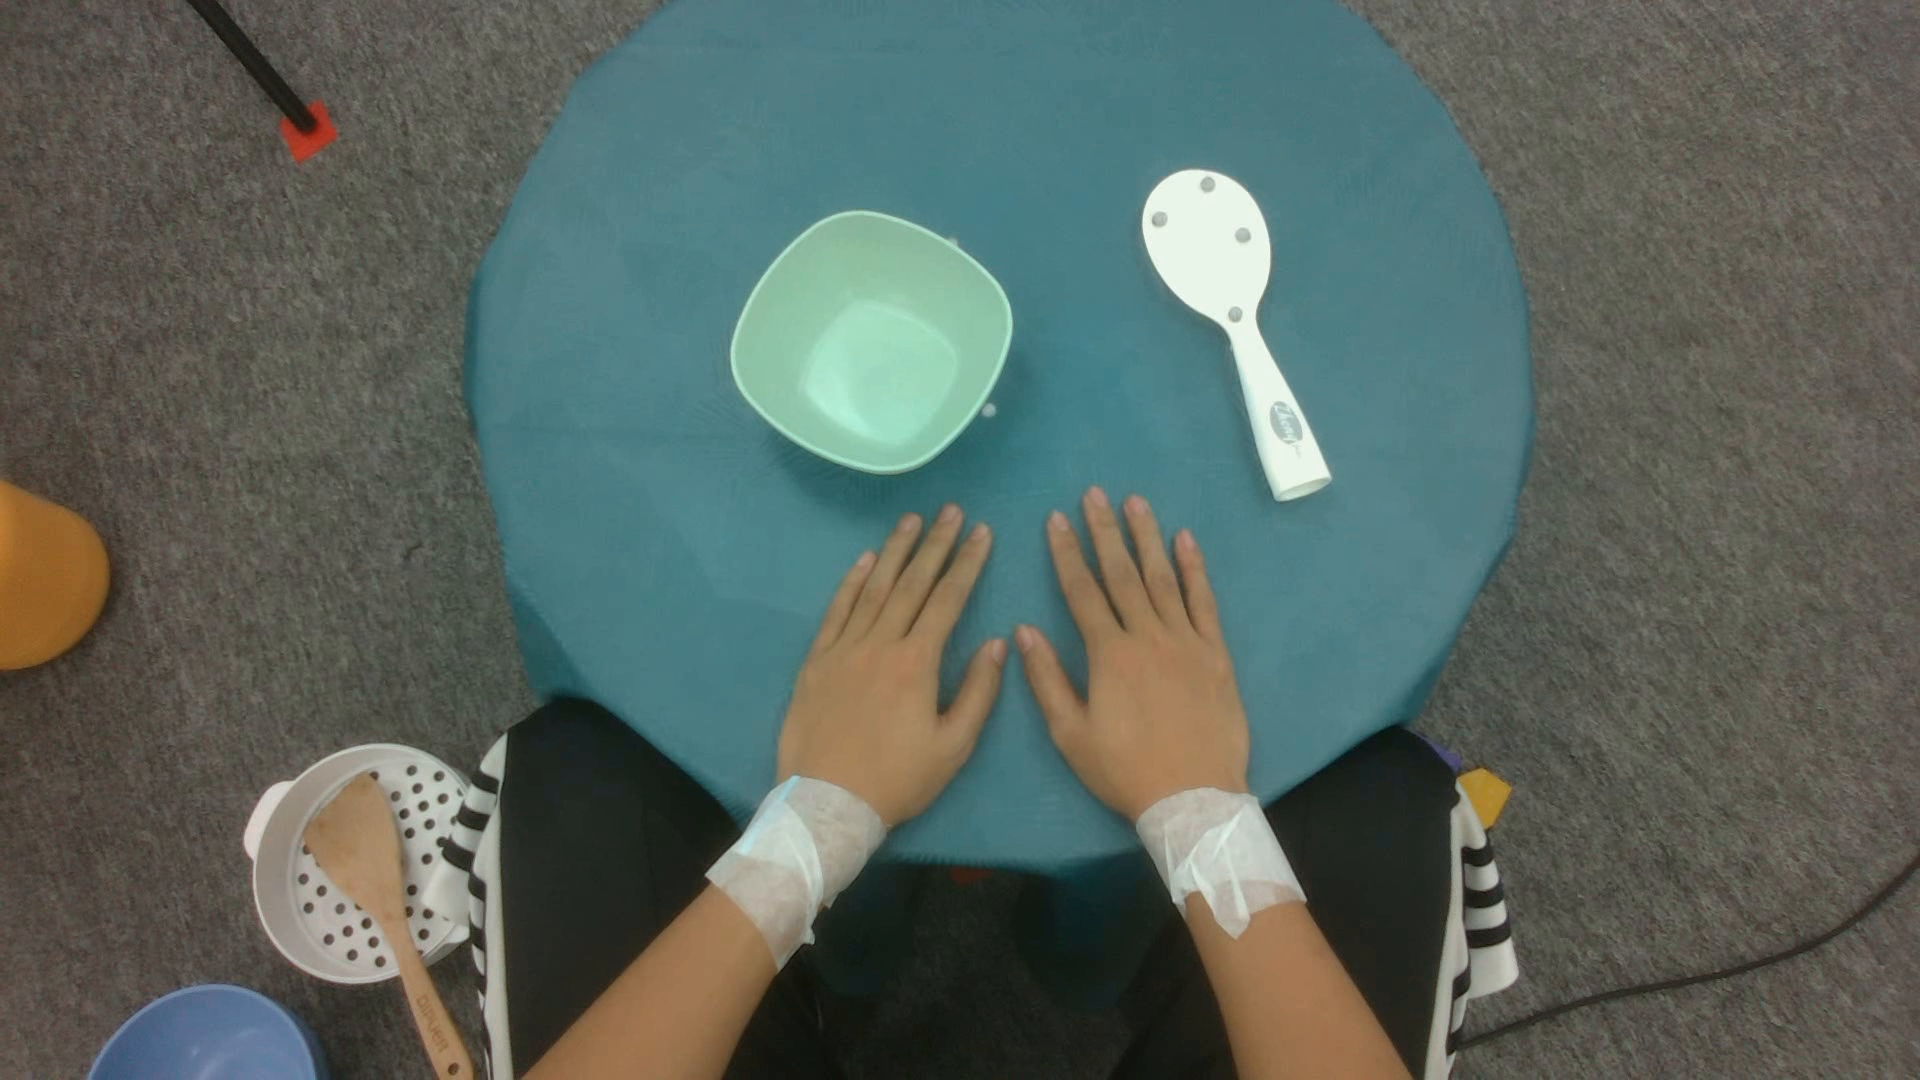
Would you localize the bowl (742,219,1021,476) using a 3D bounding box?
[{"bbox_3d":[-0.042,-0.098,0.764,0.151,0.058,0.152,1,72,-2],"label":"bowl"}]

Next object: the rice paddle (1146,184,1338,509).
[{"bbox_3d":[0.161,-0.116,0.779,0.069,0.029,0.205,-17,74,-5],"label":"rice paddle"}]
